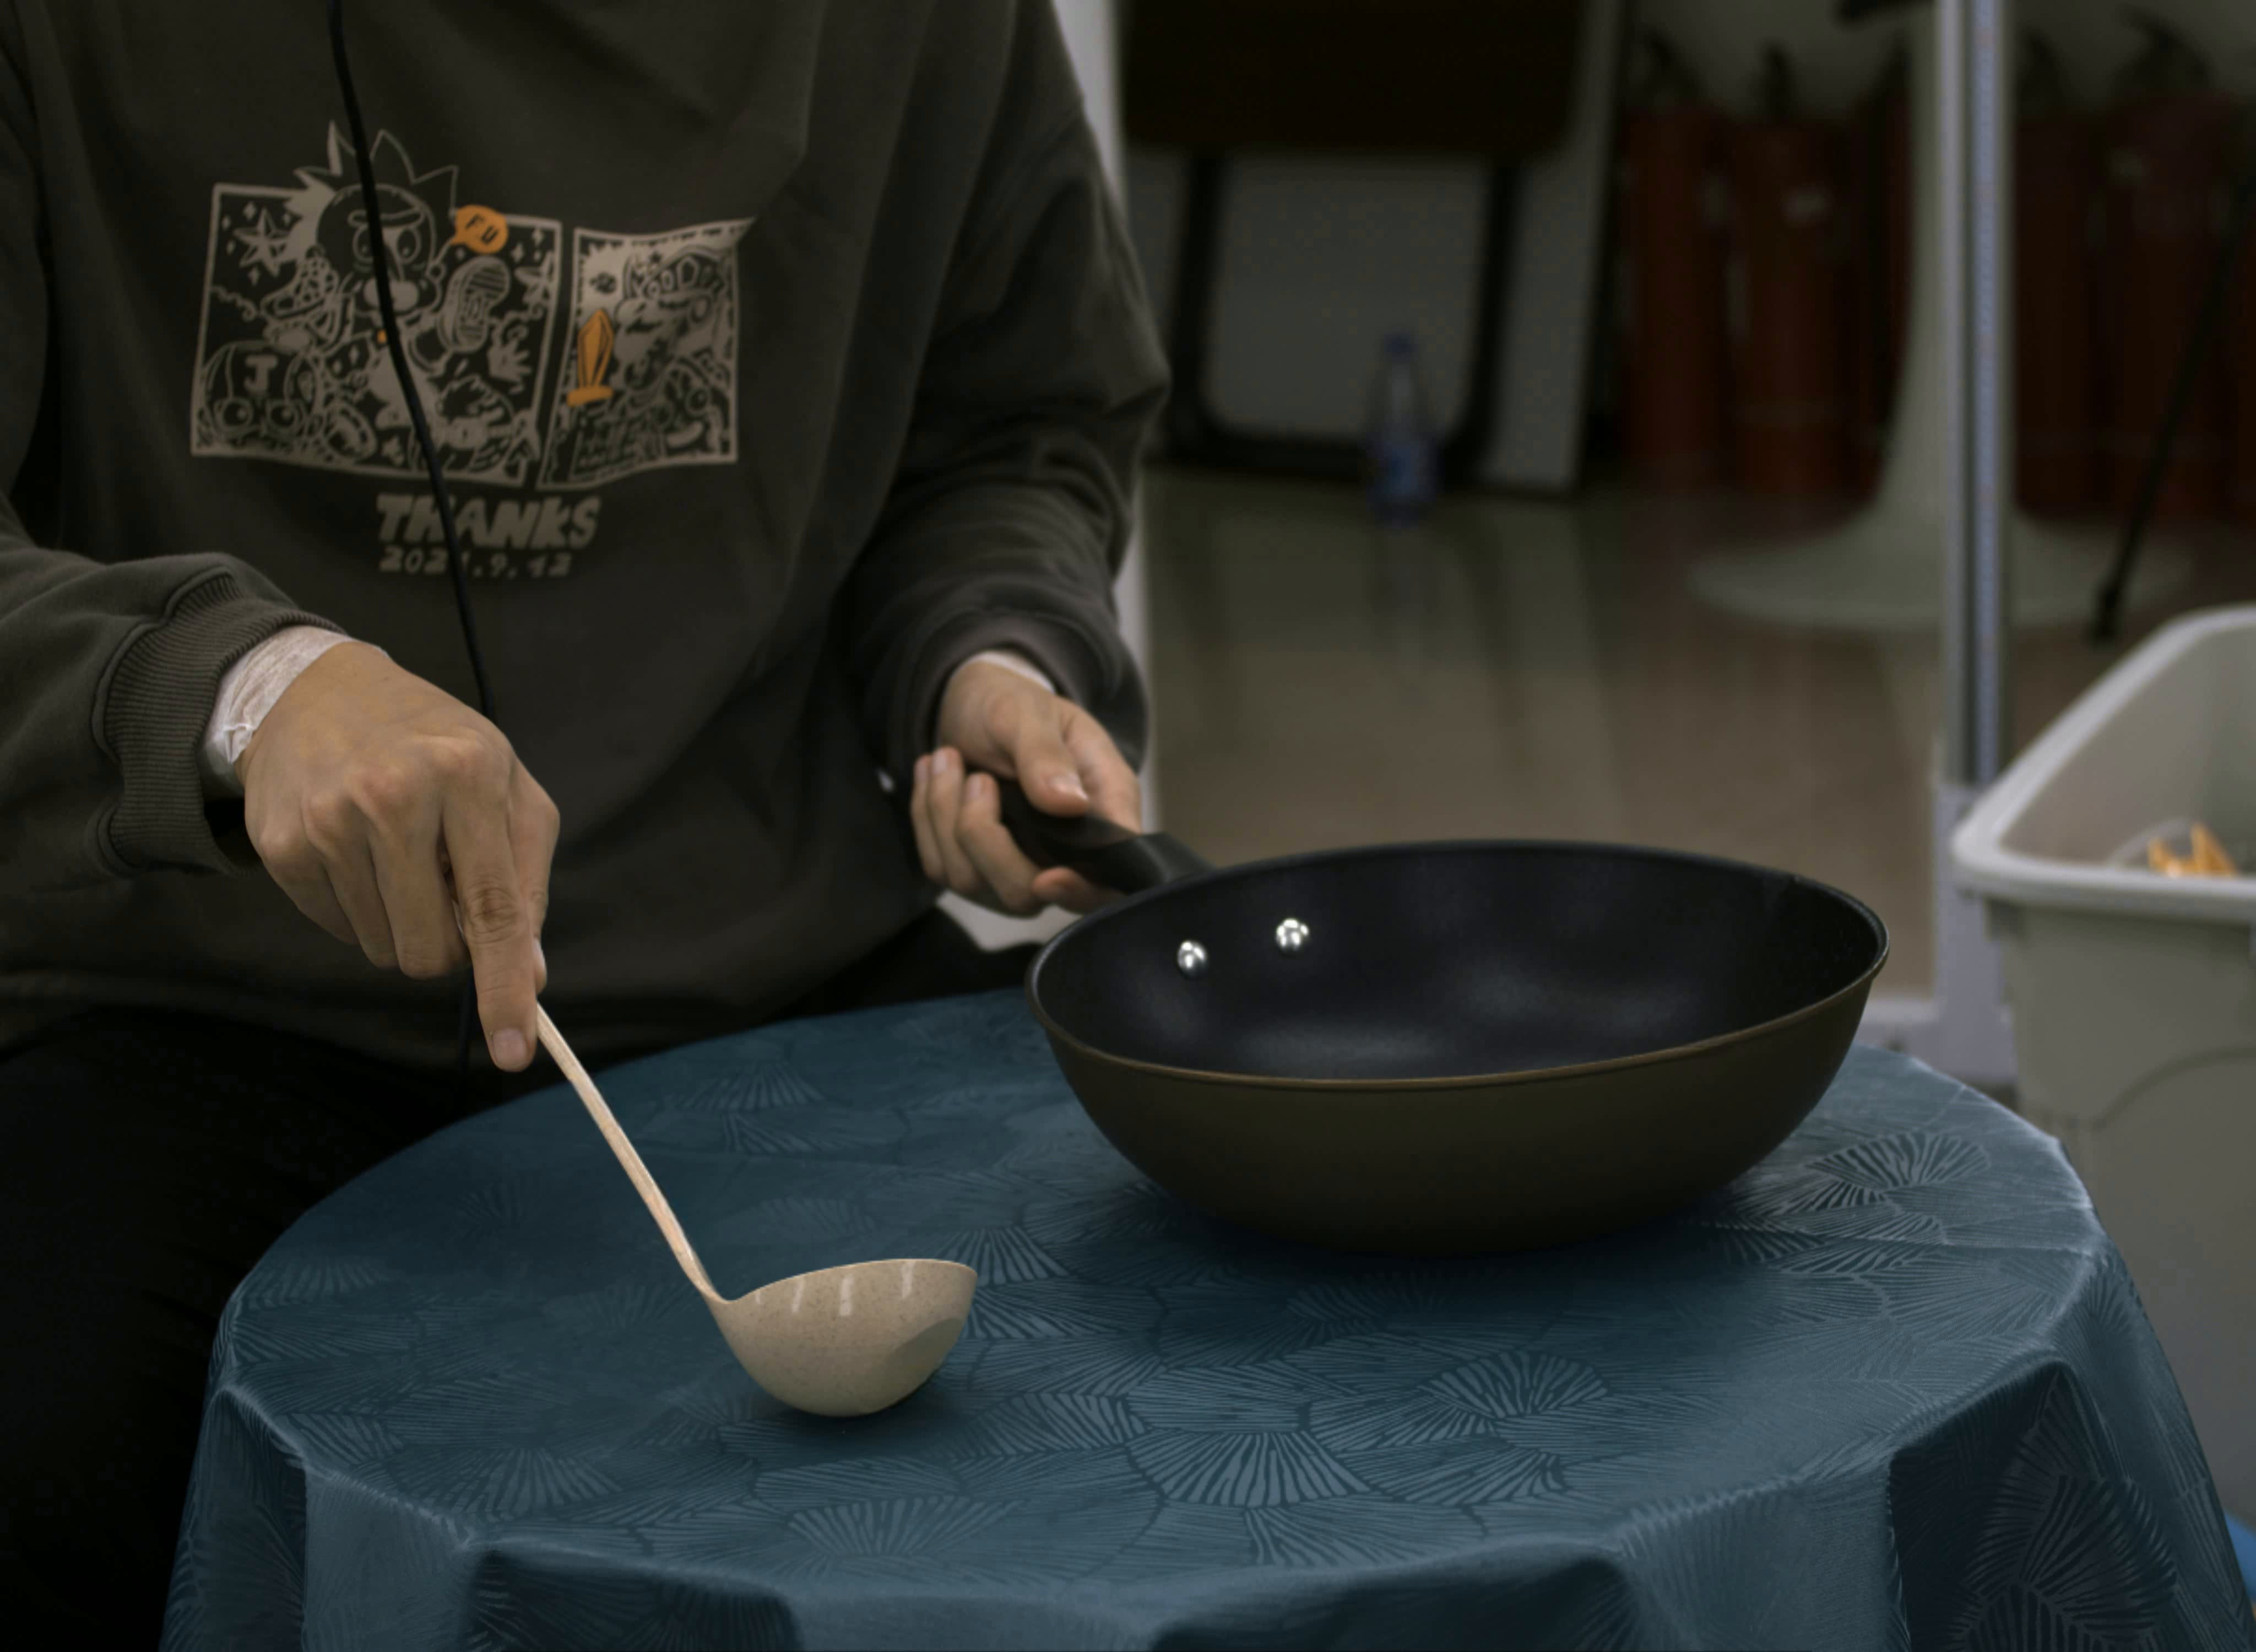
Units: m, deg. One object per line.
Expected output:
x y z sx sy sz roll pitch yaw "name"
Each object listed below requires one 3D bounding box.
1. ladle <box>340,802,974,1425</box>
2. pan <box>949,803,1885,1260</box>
-0.139 0.067 1.608 0.072 0.257 0.071 -38 -20 1 "ladle"
0.058 0.064 1.818 0.282 0.088 0.468 -12 15 -30 "pan"
